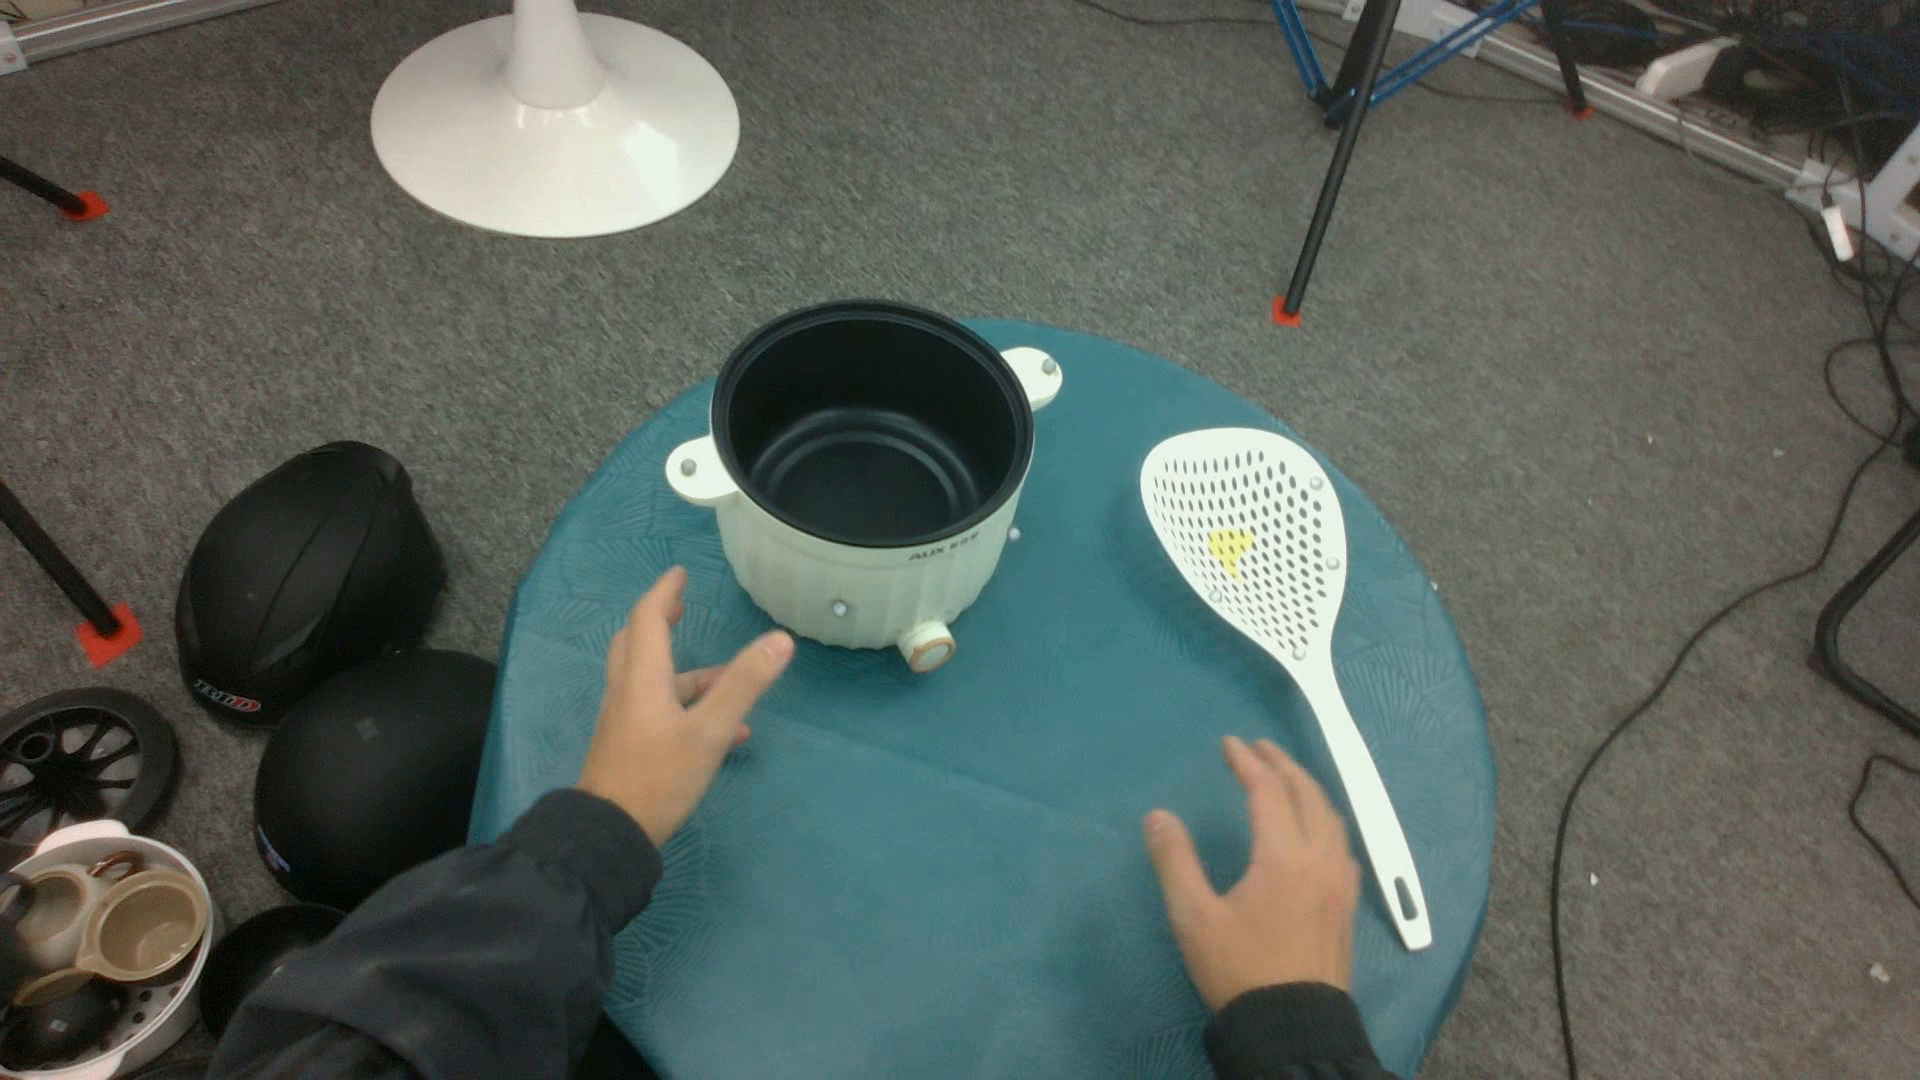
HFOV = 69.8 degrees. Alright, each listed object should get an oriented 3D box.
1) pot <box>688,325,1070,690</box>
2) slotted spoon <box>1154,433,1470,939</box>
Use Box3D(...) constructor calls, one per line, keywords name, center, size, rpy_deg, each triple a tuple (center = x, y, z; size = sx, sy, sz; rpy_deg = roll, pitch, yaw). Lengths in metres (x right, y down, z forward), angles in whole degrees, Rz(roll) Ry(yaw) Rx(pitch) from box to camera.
Box3D(name="pot", center=(-0.042, -0.013, 0.831), size=(0.241, 0.142, 0.191), rpy_deg=(-22, 55, -20))
Box3D(name="slotted spoon", center=(0.225, 0.076, 0.853), size=(0.137, 0.050, 0.349), rpy_deg=(-10, 54, -16))
